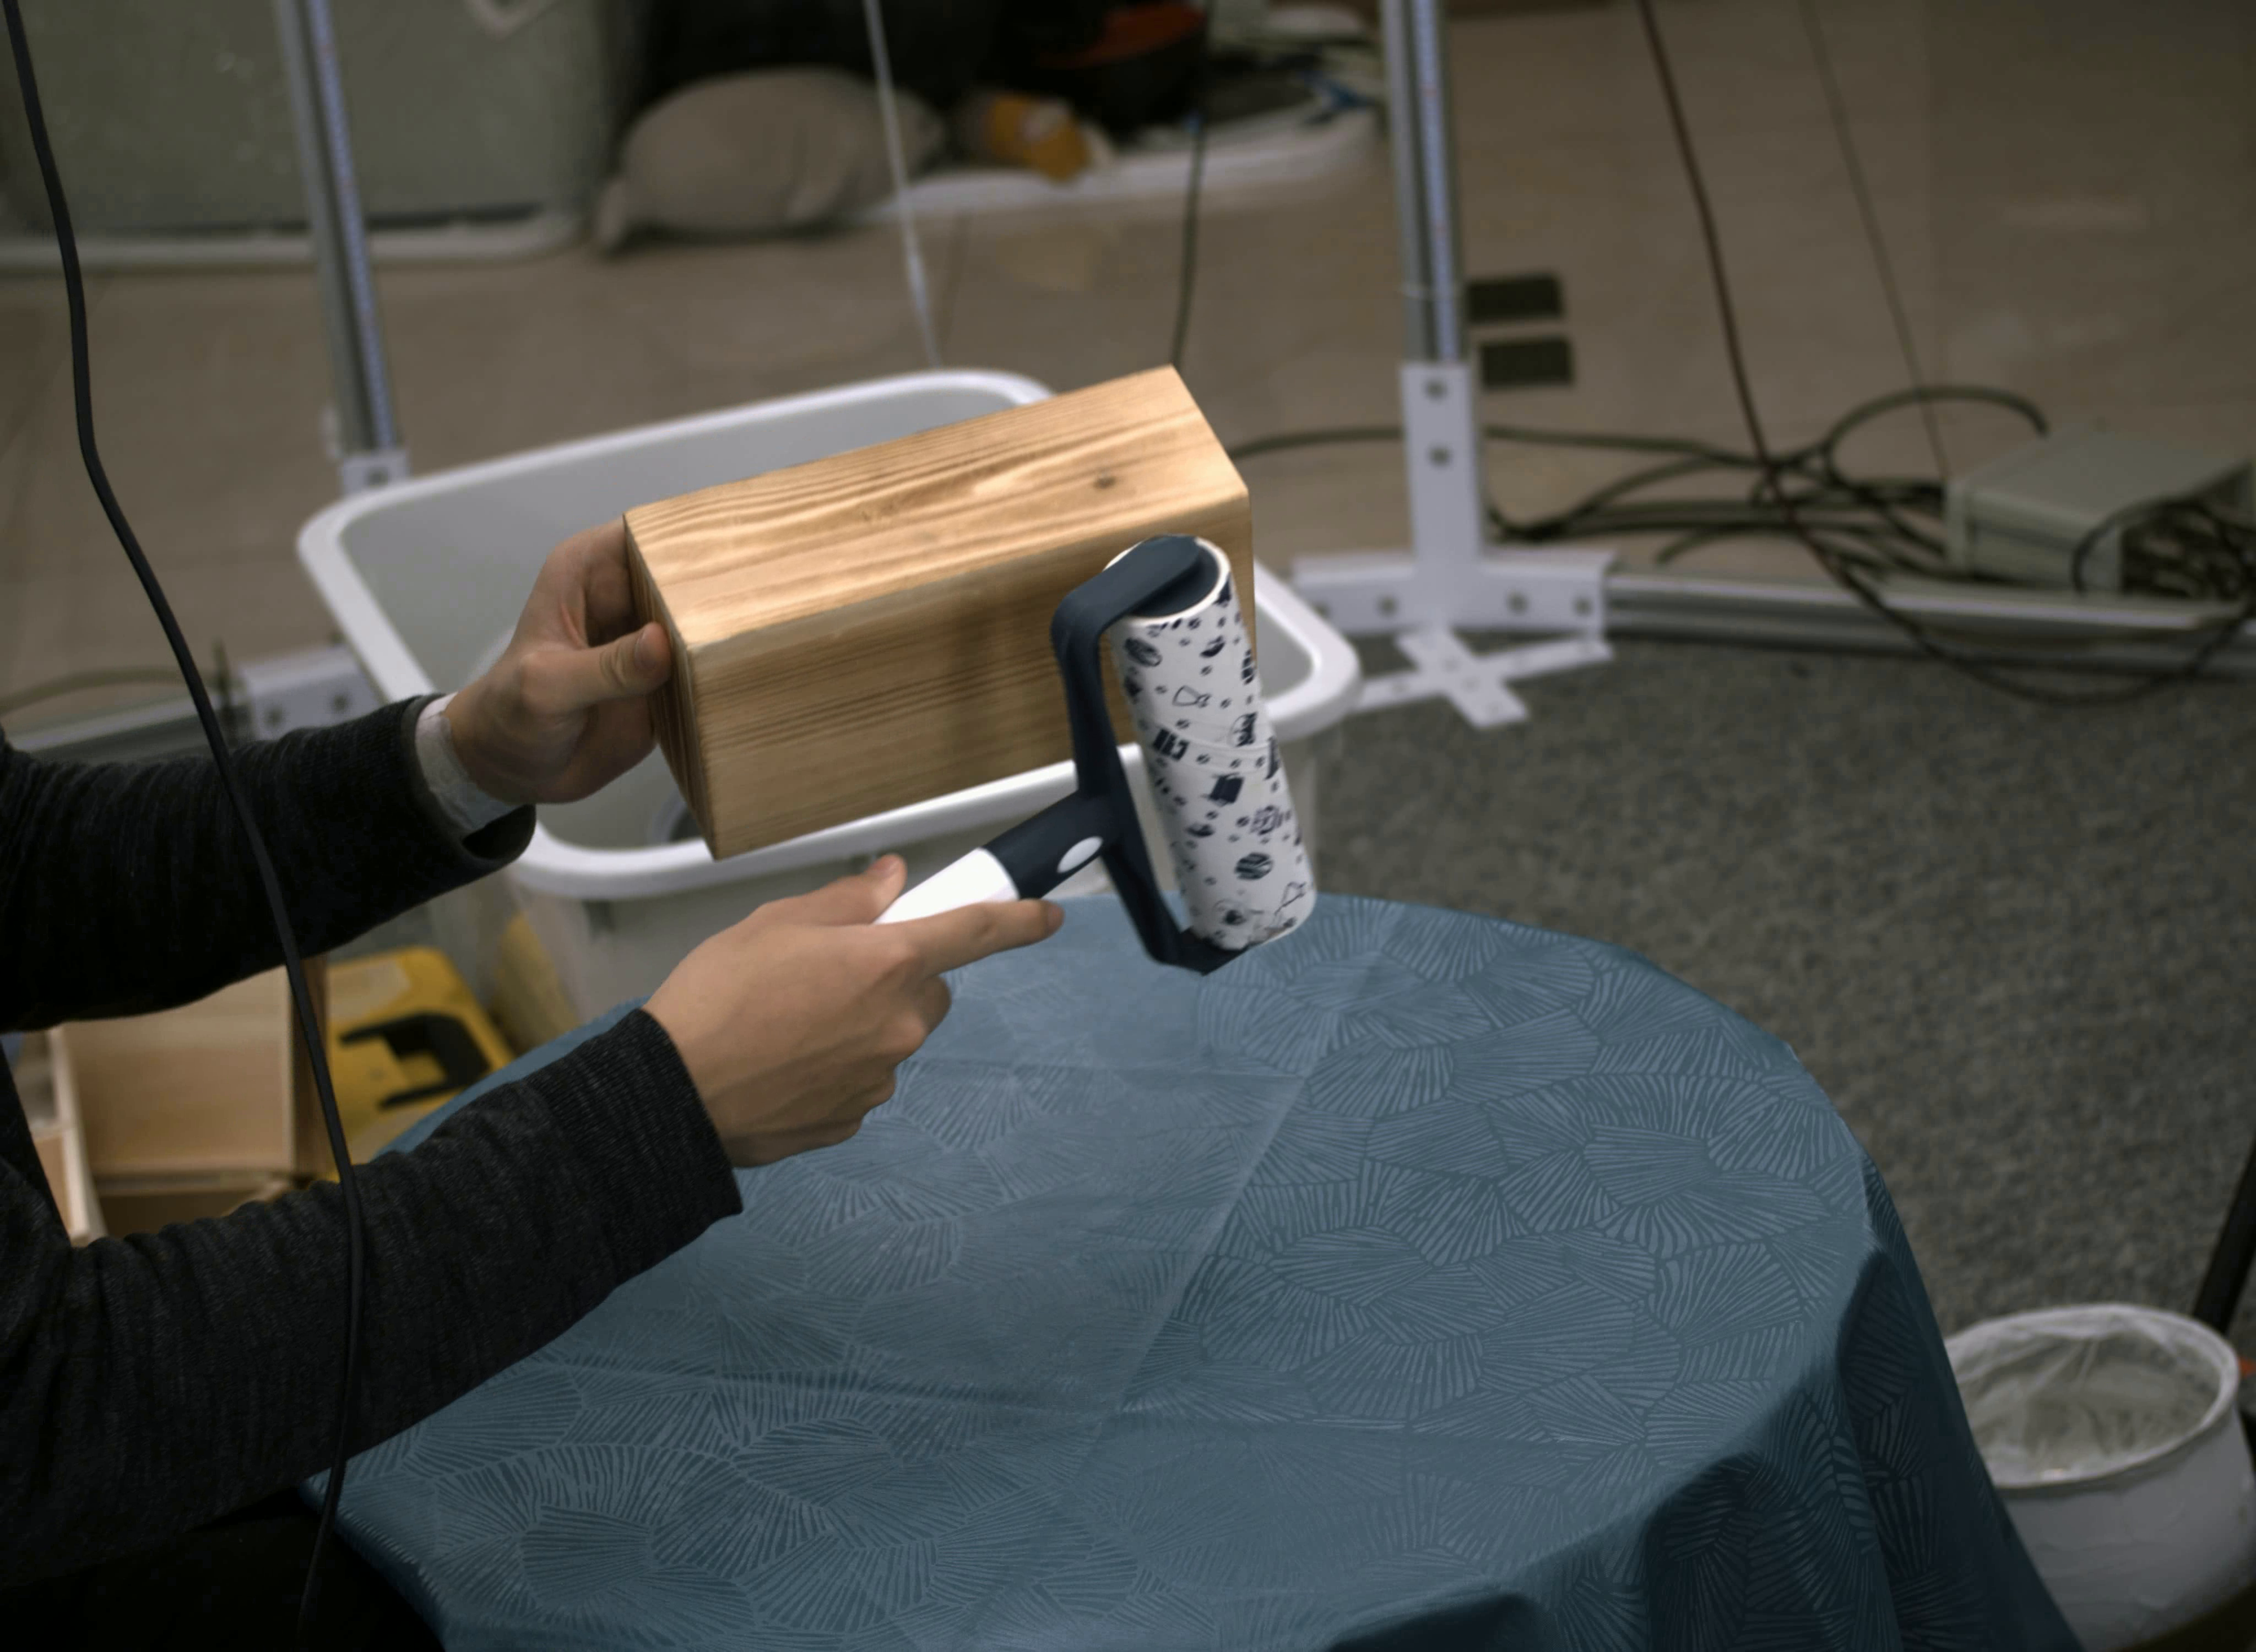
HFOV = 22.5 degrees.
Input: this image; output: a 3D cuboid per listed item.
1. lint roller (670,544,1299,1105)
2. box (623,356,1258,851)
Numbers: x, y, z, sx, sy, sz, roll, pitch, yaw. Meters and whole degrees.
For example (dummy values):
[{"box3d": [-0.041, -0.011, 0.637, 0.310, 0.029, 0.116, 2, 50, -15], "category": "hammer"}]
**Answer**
[{"box3d": [-0.052, 0.029, 1.979, 0.245, 0.179, 0.050, -36, 47, -19], "category": "lint roller"}, {"box3d": [-0.066, -0.081, 2.048, 0.211, 0.109, 0.079, -16, 46, -13], "category": "box"}]
